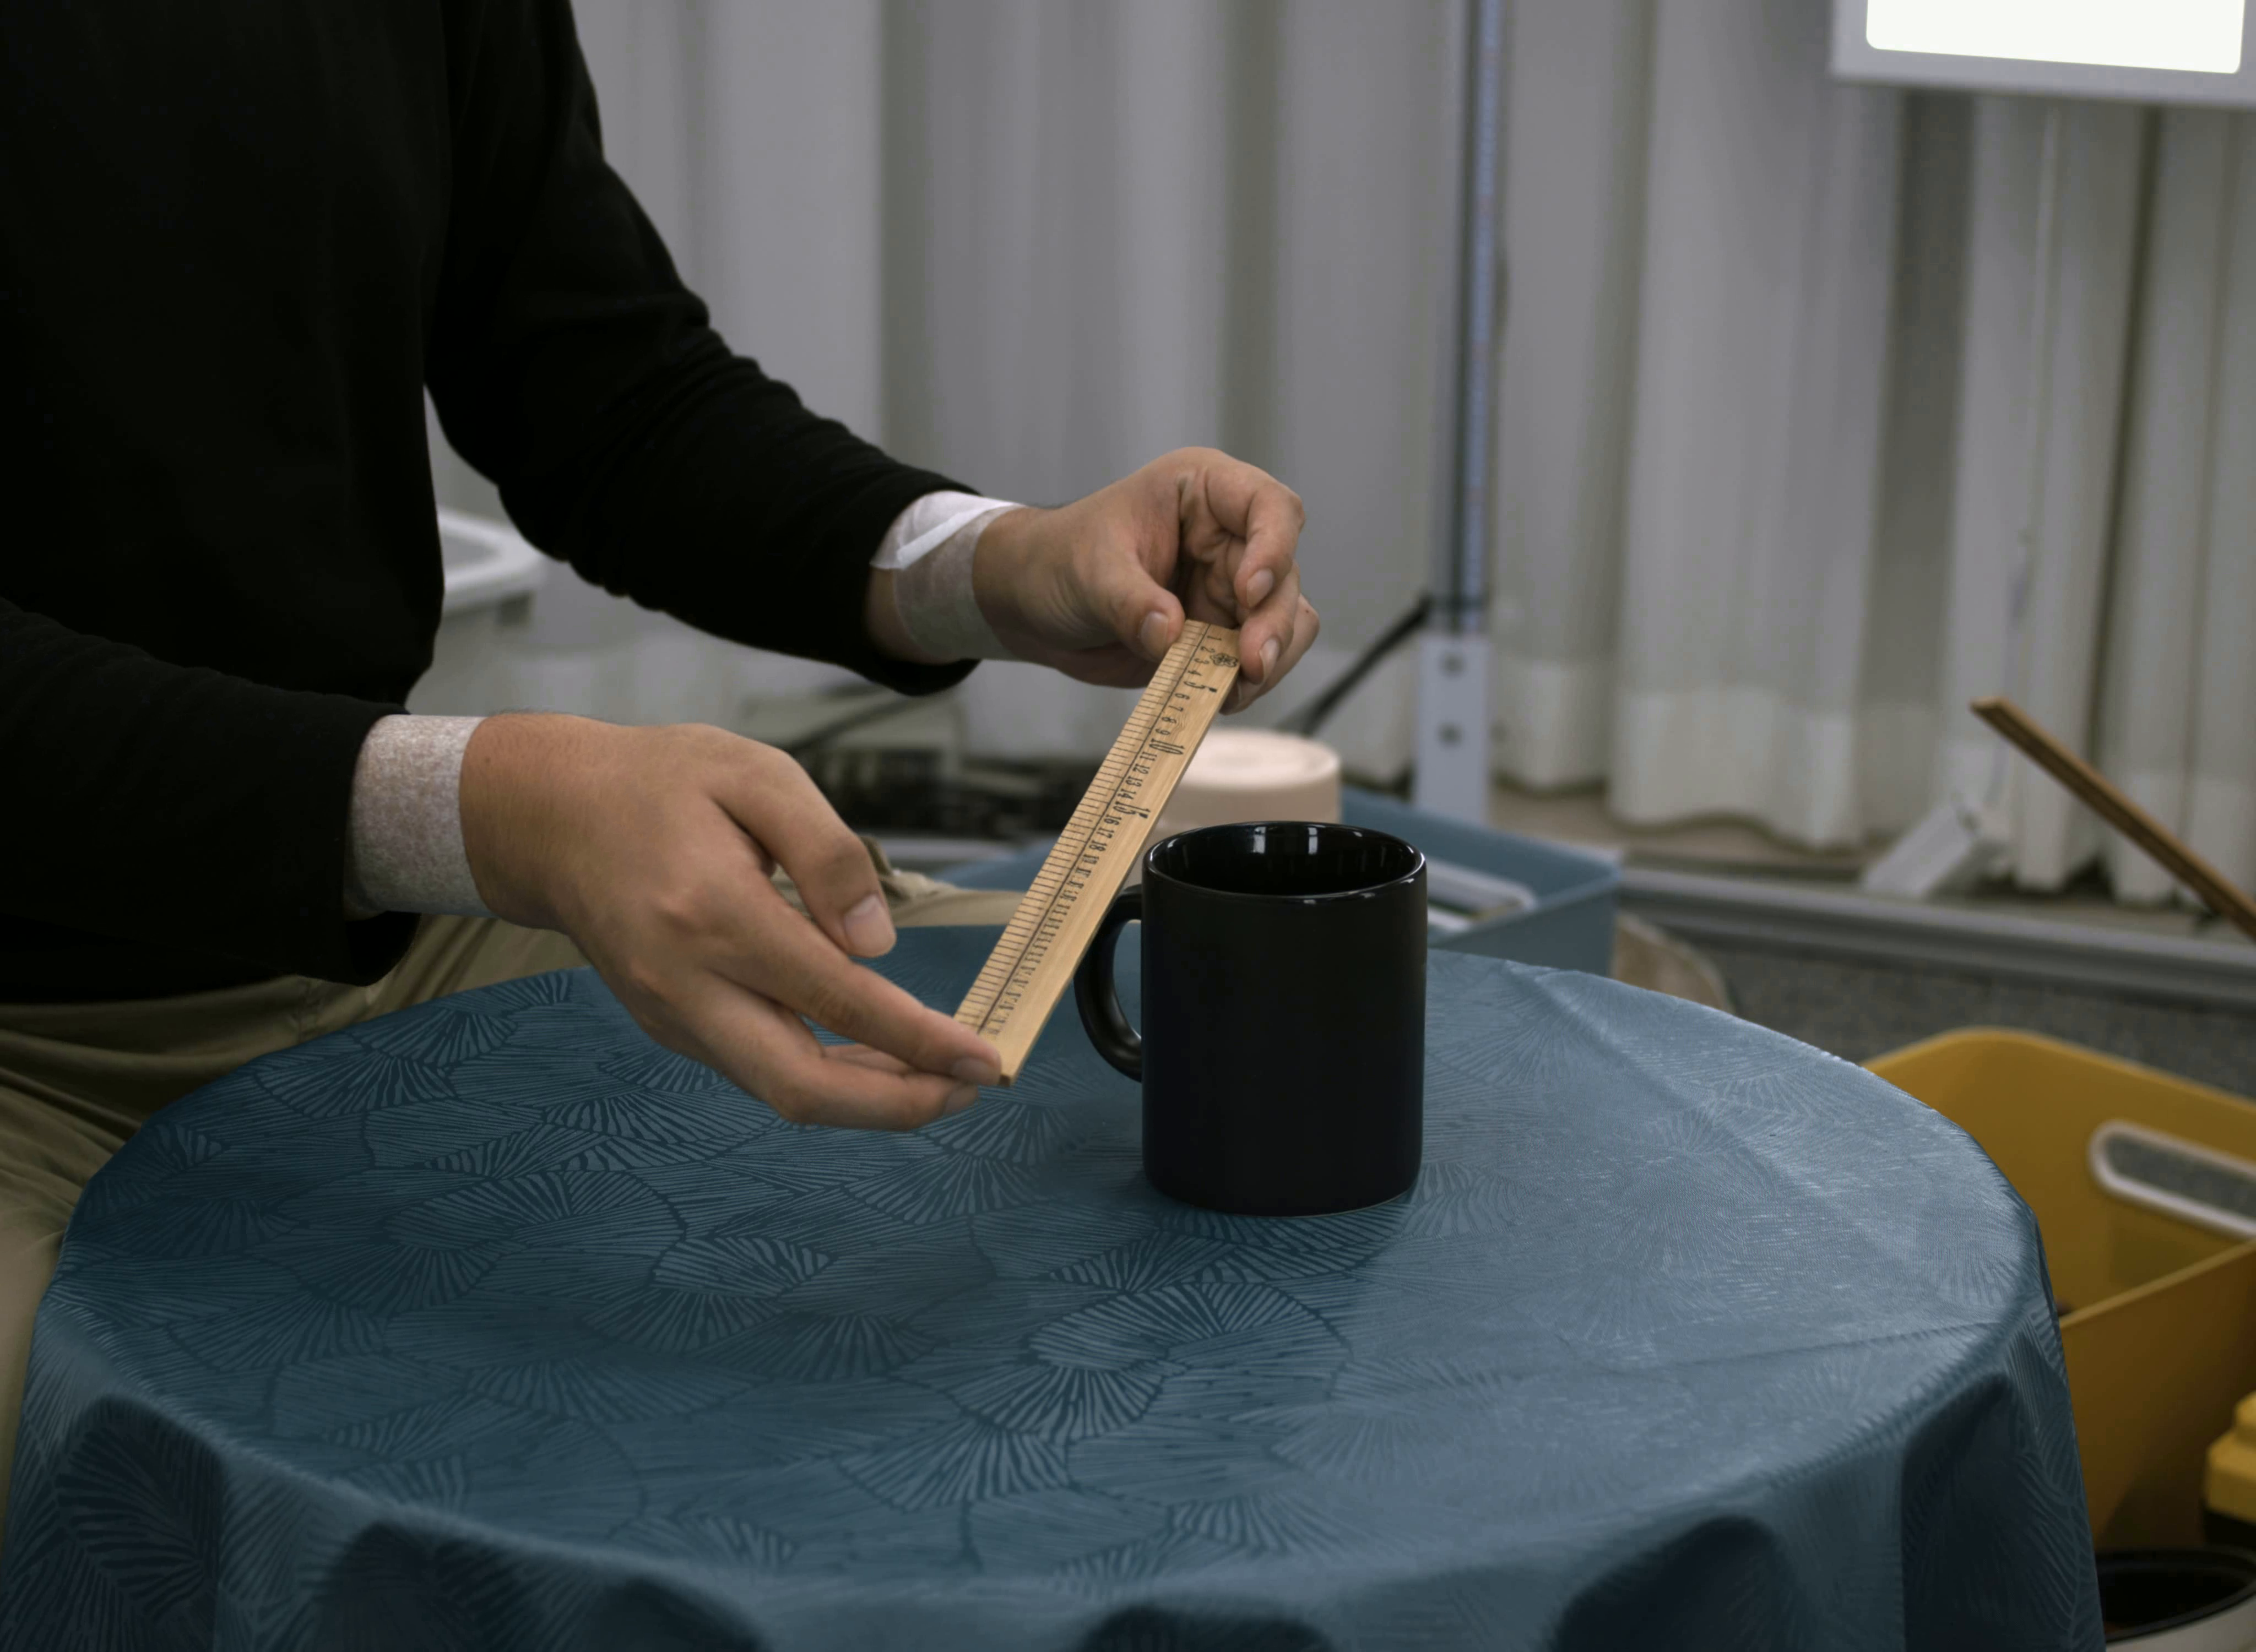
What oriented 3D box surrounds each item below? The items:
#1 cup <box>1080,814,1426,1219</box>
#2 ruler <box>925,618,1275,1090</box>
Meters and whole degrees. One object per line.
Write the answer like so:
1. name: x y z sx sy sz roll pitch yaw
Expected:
1. cup: 0.034 0.055 1.634 0.122 0.106 0.089 14 23 38
2. ruler: -0.004 -0.001 1.617 0.027 0.022 0.331 20 28 7
